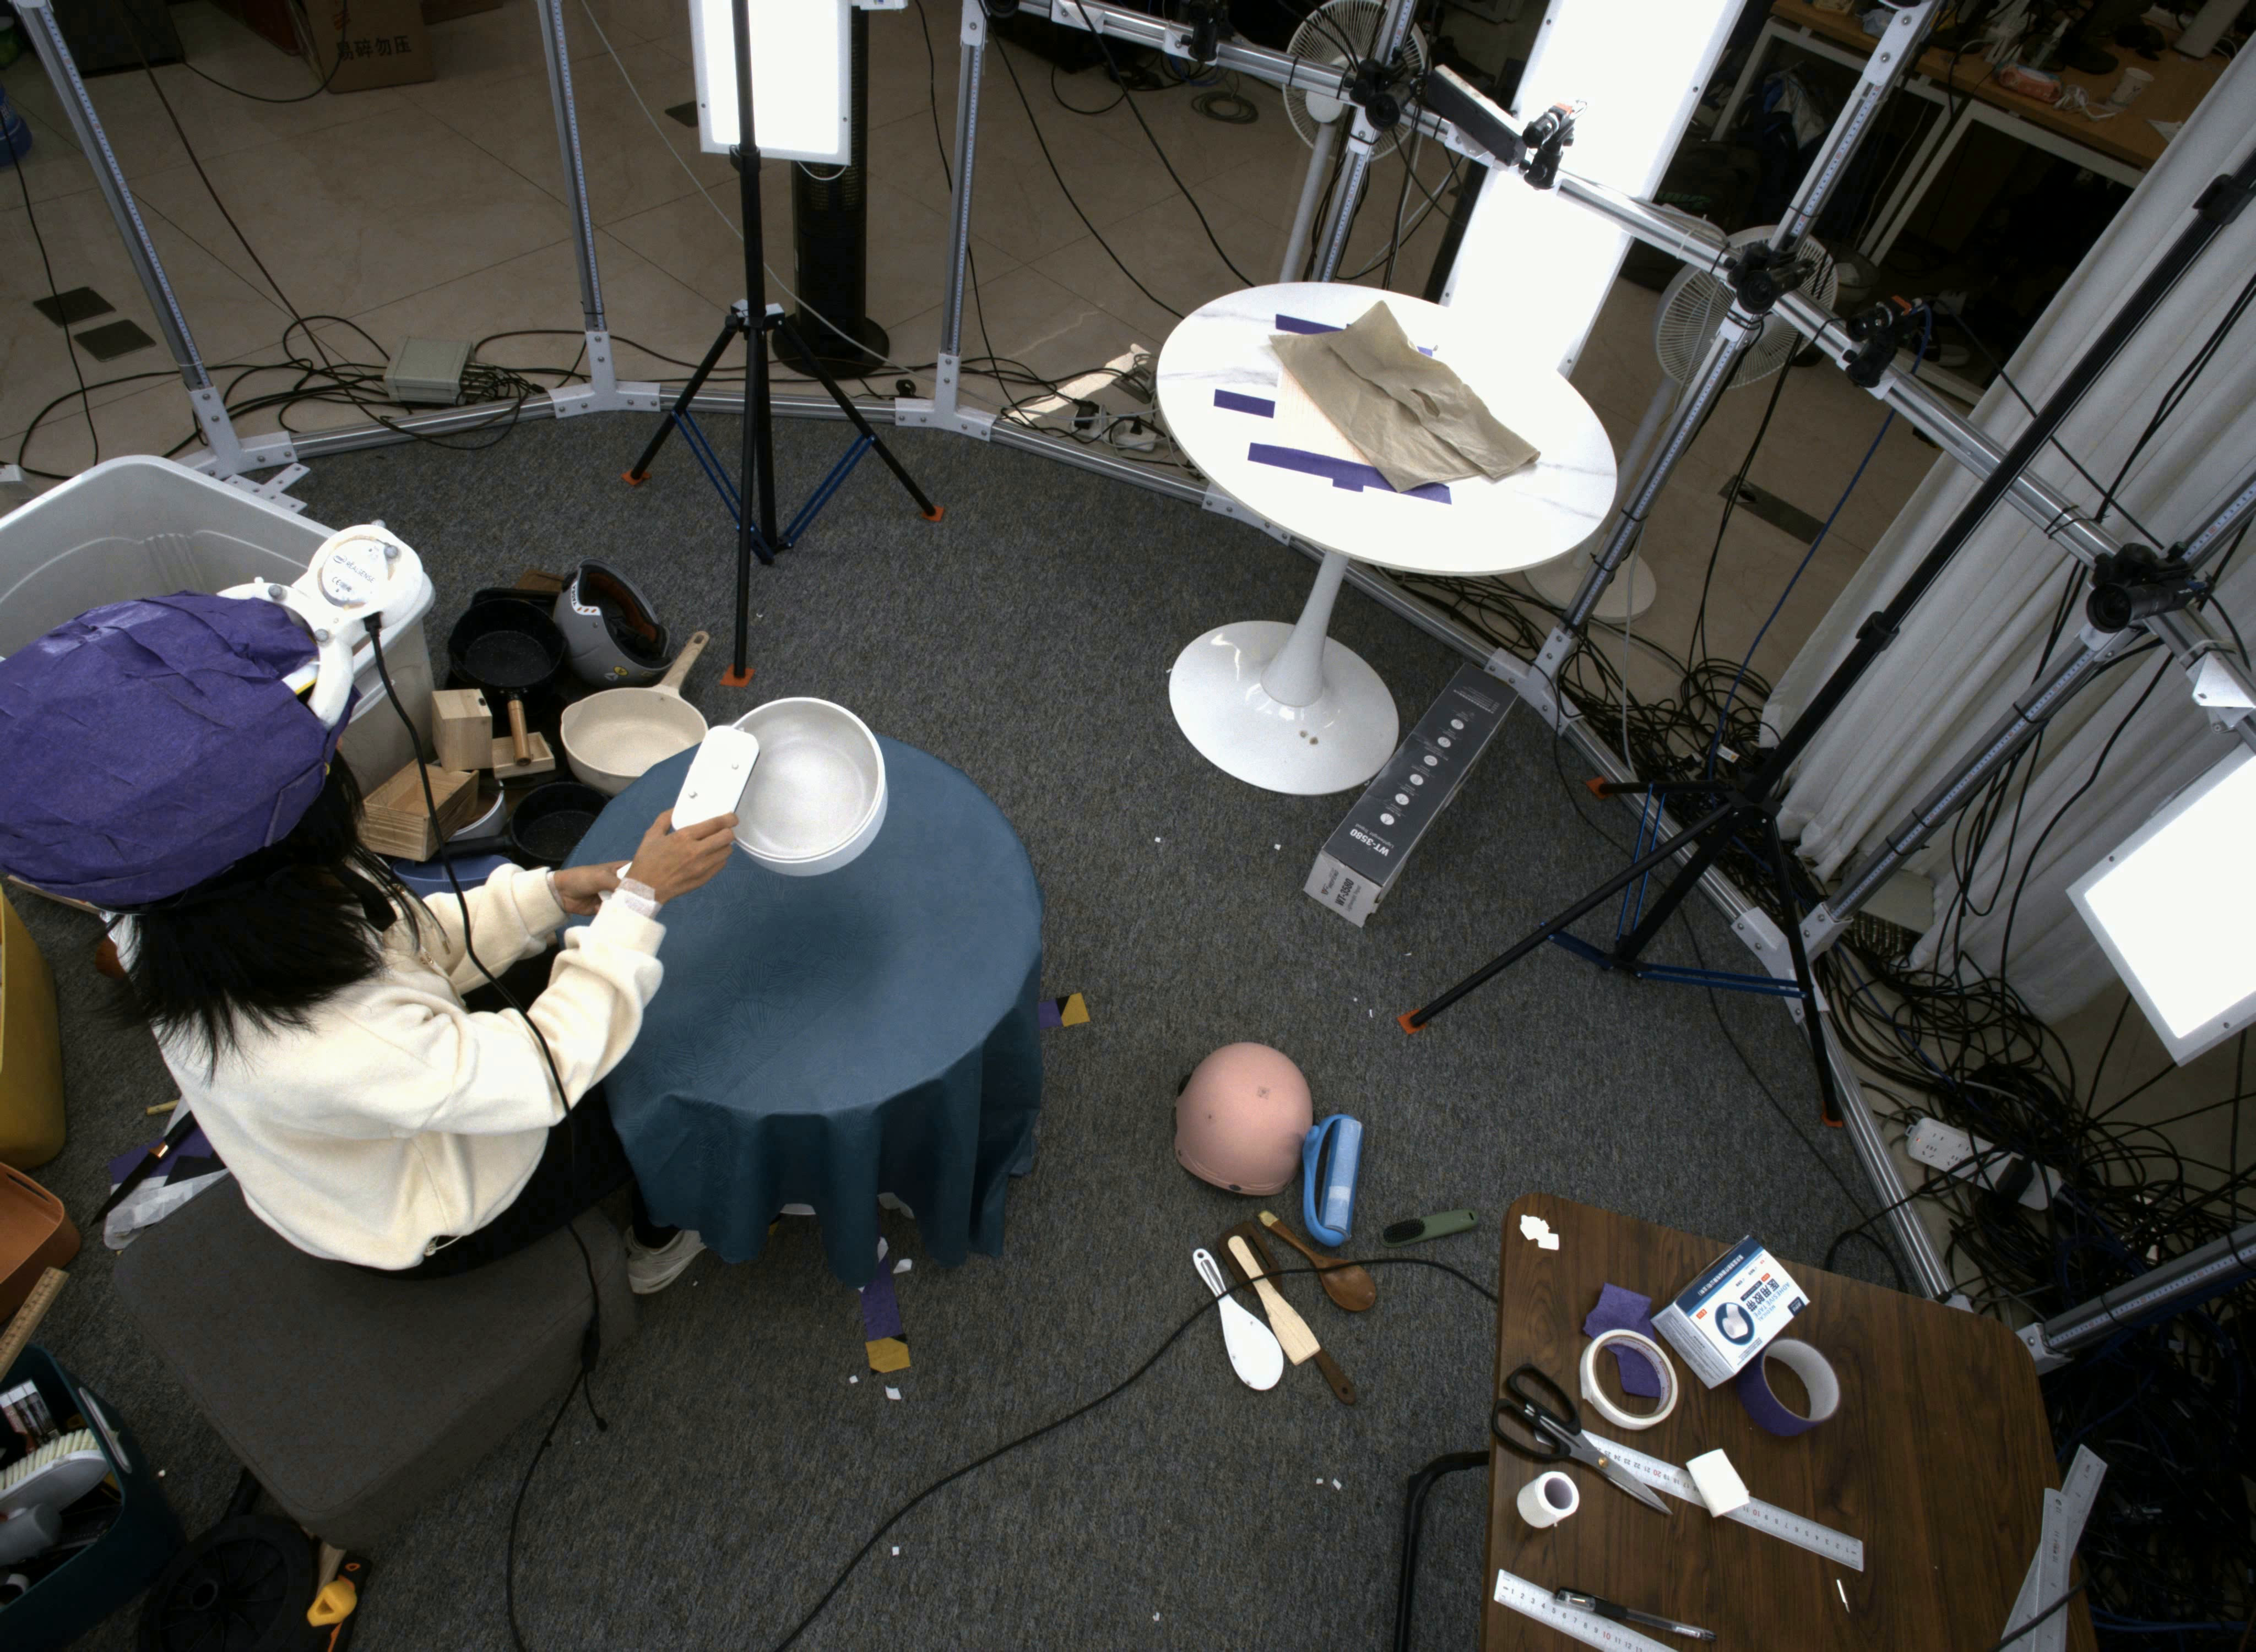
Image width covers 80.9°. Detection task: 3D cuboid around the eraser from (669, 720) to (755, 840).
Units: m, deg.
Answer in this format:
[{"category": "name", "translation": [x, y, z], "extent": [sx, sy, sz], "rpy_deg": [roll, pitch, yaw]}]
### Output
[{"category": "eraser", "translation": [-0.464, -0.053, 1.435], "extent": [0.062, 0.035, 0.131], "rpy_deg": [17, 77, 5]}]

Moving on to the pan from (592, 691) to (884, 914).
[{"category": "pan", "translation": [-0.447, -0.004, 1.494], "extent": [0.354, 0.103, 0.199], "rpy_deg": [-33, 79, -12]}]
